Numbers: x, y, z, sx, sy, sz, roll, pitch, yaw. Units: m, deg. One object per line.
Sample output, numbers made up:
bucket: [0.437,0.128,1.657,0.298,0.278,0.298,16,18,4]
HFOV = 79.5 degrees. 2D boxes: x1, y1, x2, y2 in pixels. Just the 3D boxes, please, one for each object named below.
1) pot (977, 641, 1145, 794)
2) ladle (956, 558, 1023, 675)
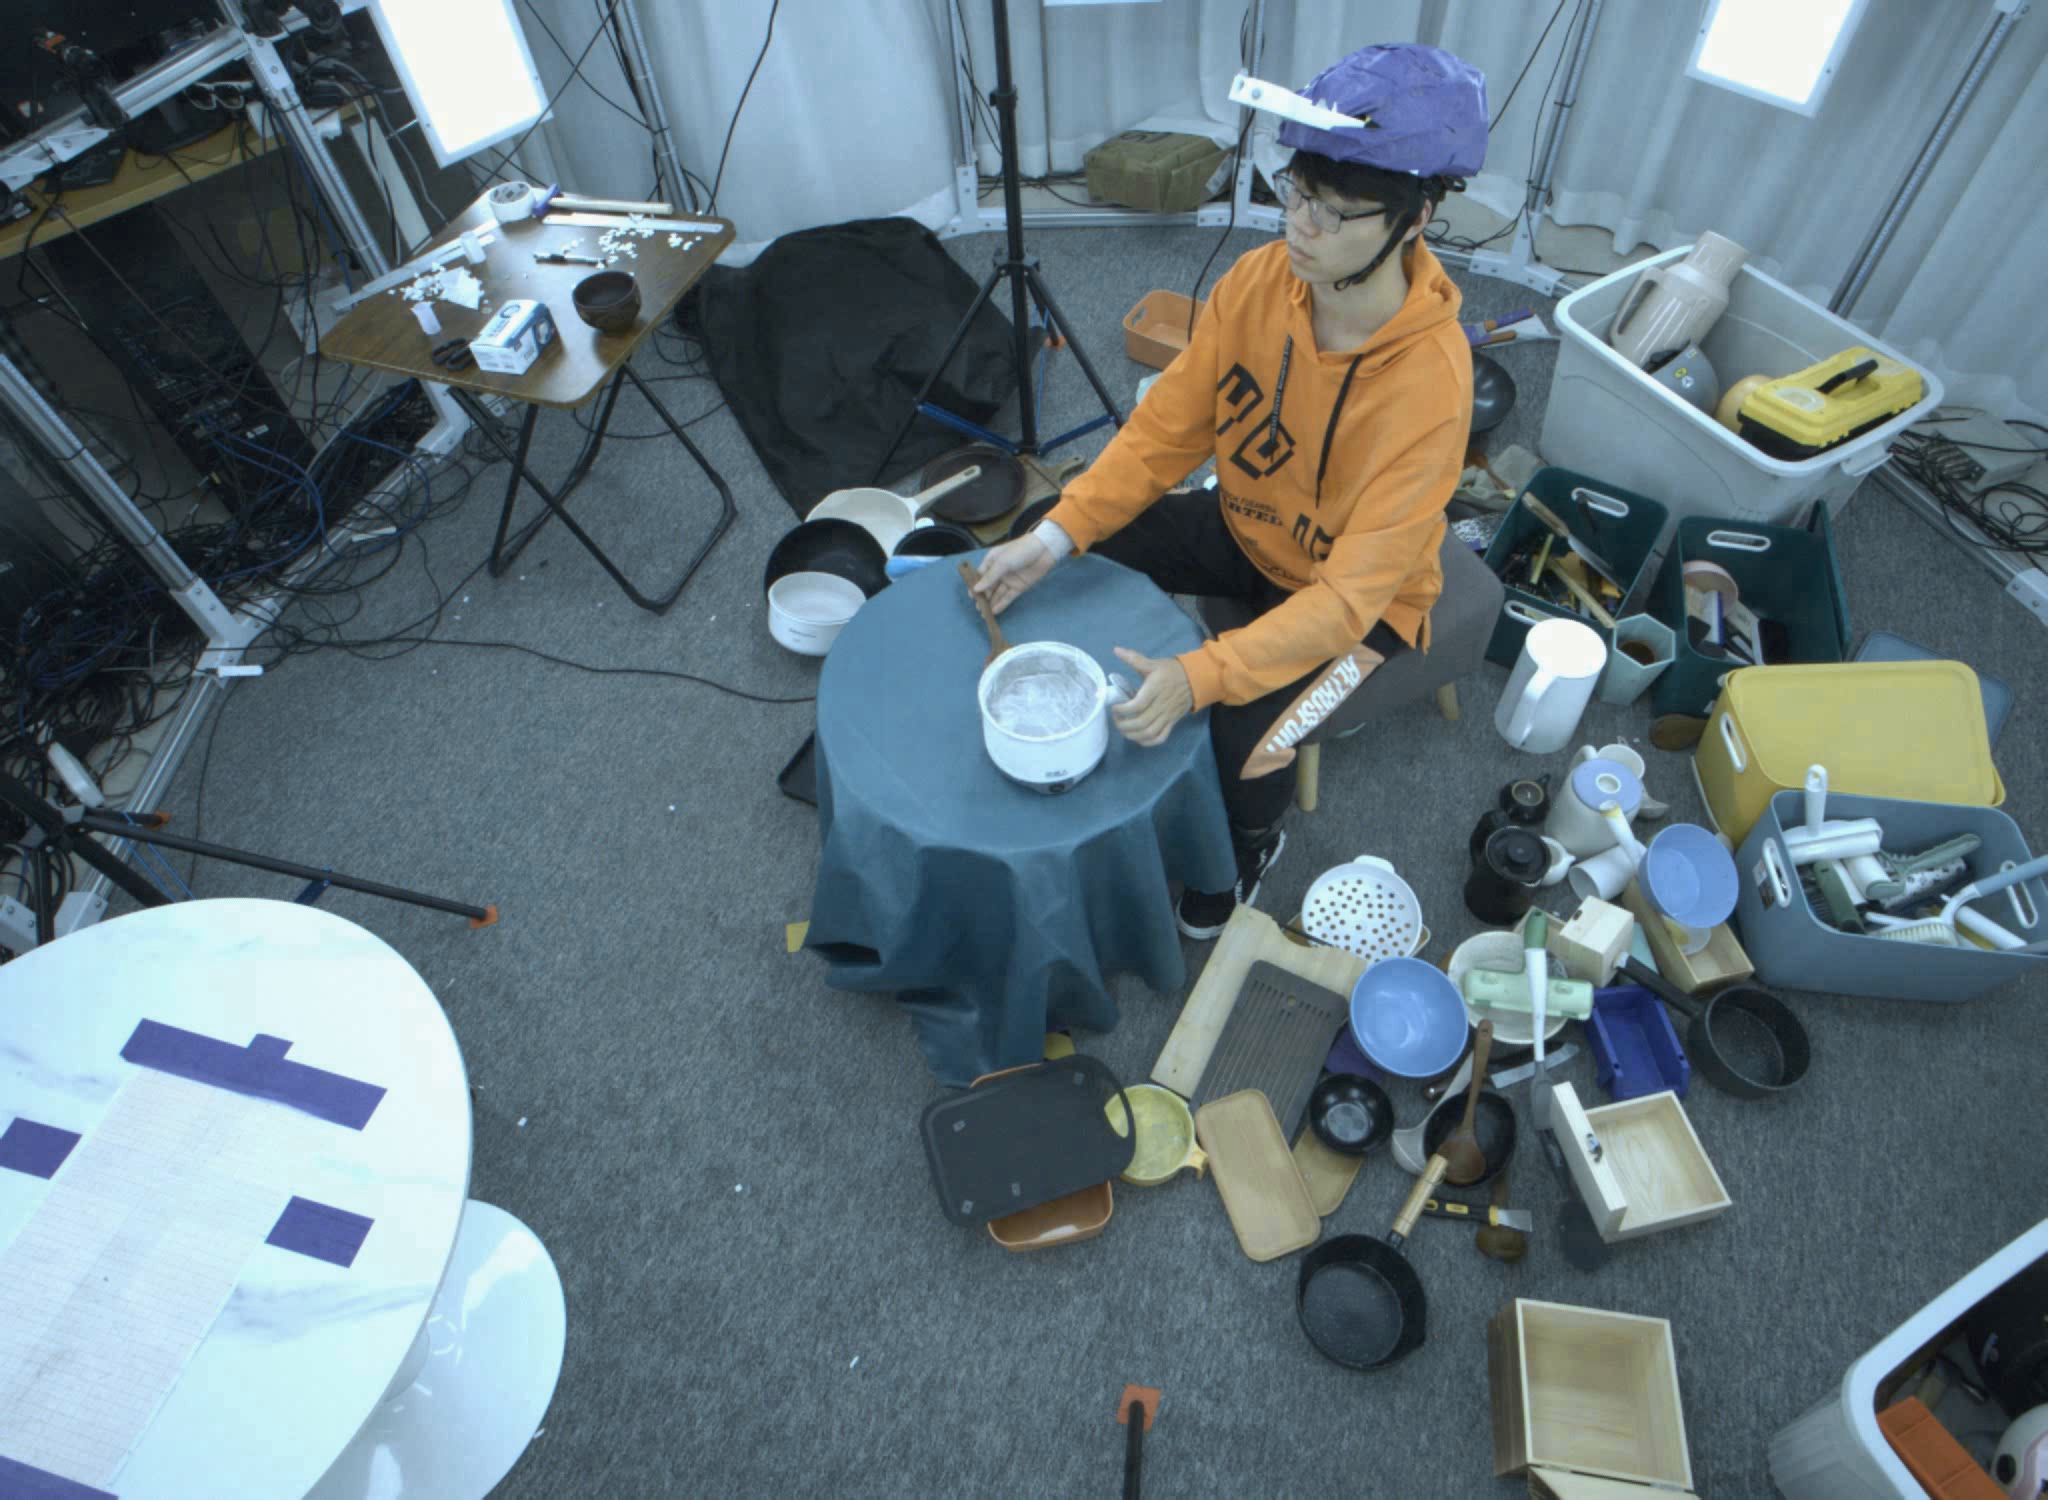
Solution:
pot: [0.055,-0.050,1.736,0.234,0.138,0.176,-11,55,-5]
ladle: [-0.058,-0.212,1.889,0.077,0.065,0.256,-15,63,-12]
